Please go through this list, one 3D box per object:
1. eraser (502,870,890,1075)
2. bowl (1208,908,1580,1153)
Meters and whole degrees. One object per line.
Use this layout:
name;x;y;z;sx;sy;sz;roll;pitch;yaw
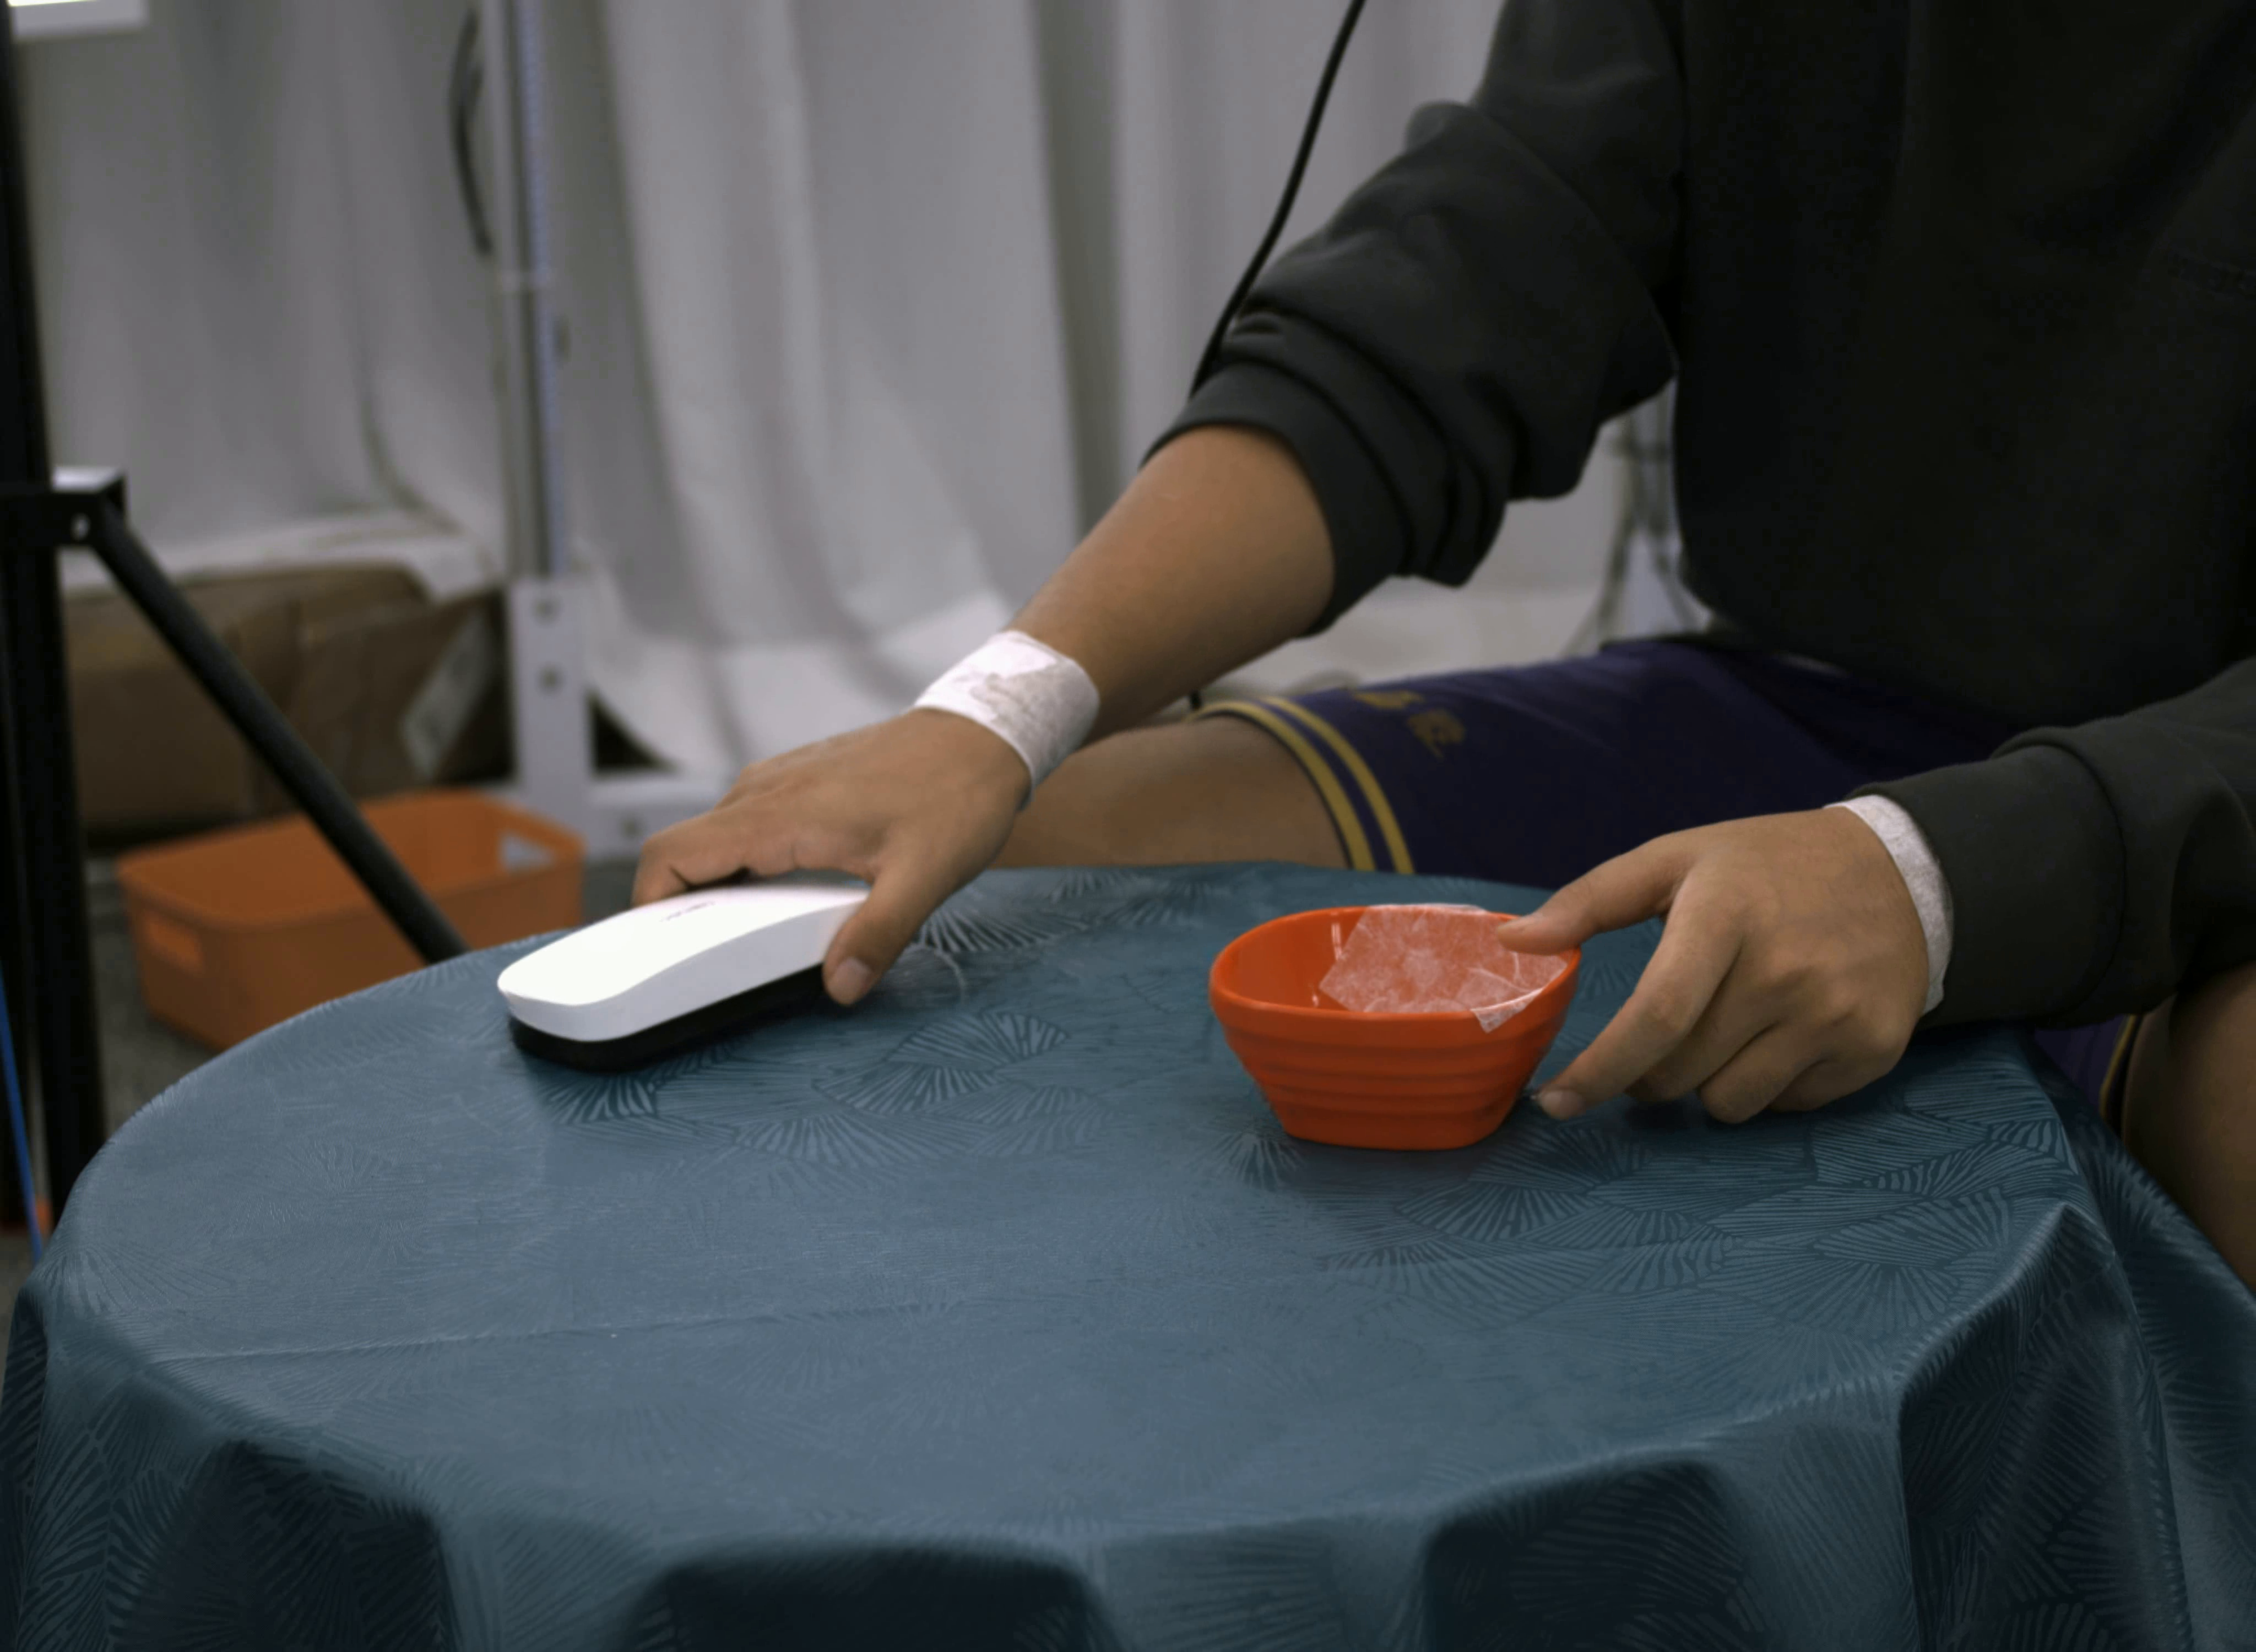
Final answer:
eraser;-0.138;0.044;1.736;0.128;0.034;0.065;-21;22;-37
bowl;0.082;0.064;1.608;0.118;0.051;0.119;-4;15;0
